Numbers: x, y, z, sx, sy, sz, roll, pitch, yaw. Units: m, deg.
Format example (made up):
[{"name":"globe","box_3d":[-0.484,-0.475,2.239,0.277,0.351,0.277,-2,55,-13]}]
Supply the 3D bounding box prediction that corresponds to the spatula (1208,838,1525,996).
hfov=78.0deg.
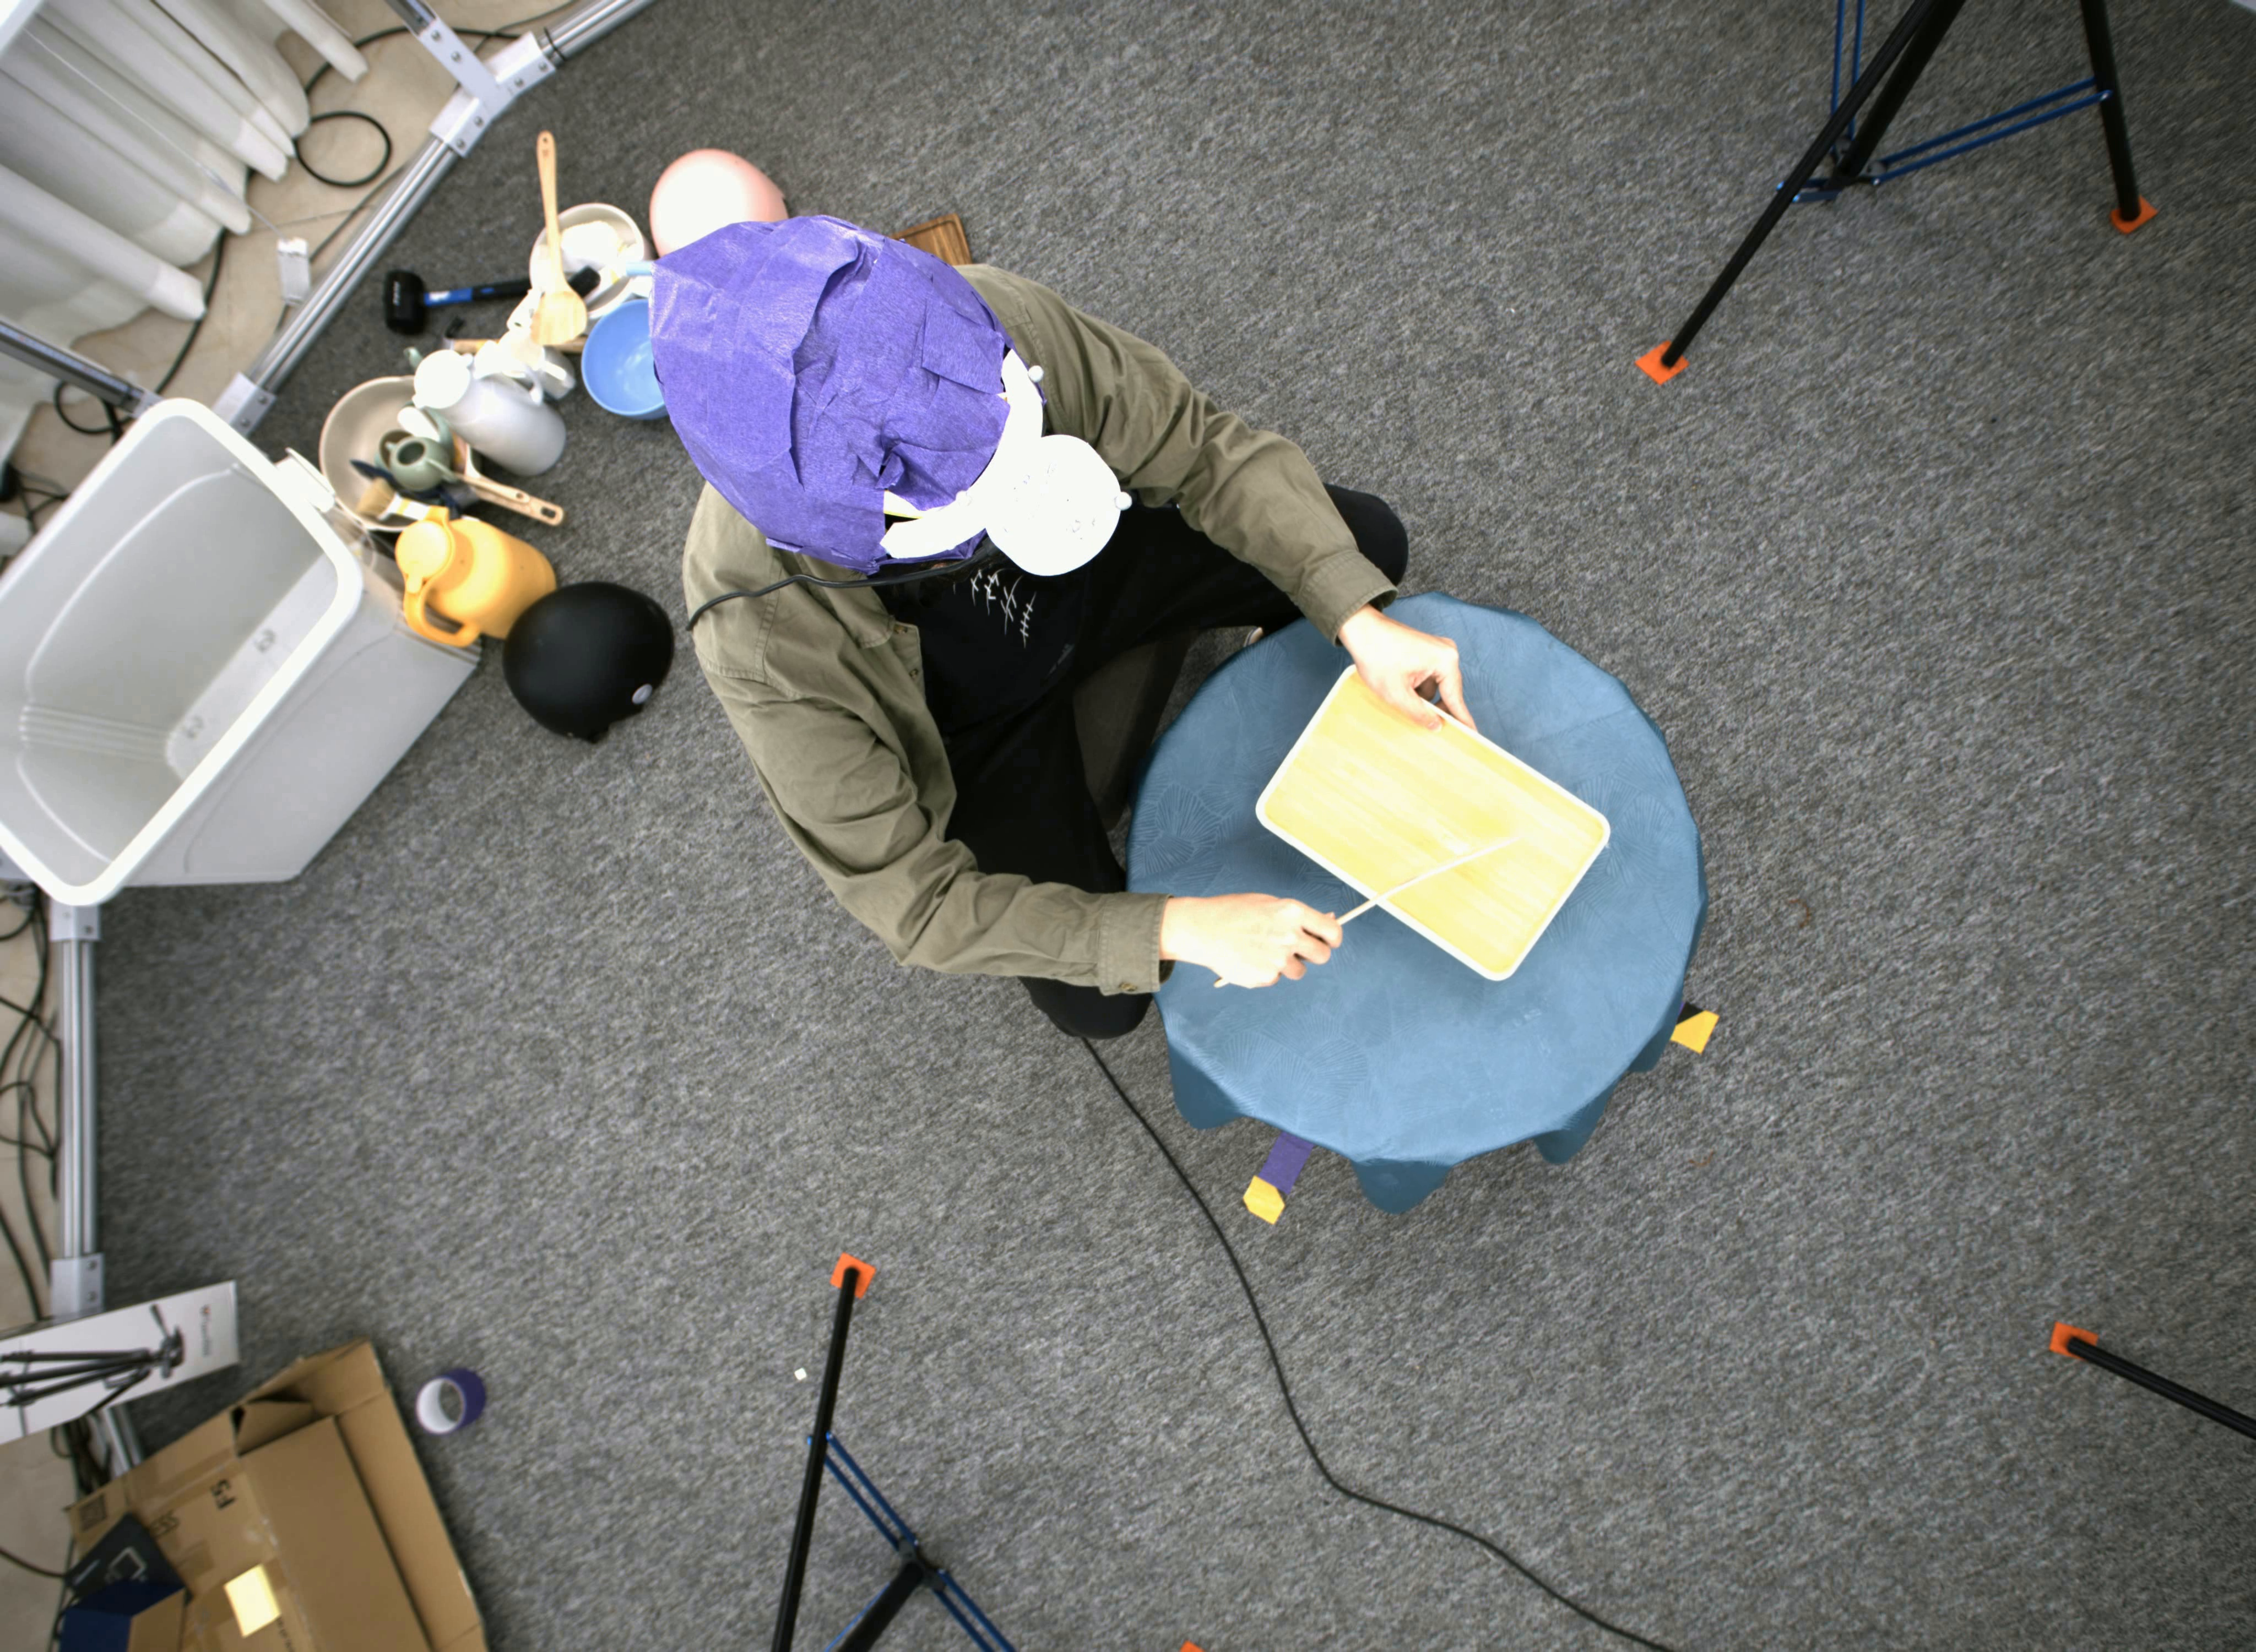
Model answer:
[{"name":"spatula","box_3d":[0.220,0.079,1.263,0.328,0.080,0.016,-28,88,0]}]

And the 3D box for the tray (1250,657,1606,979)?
[{"name":"tray","box_3d":[0.287,-0.011,1.337,0.299,0.027,0.193,36,102,11]}]
